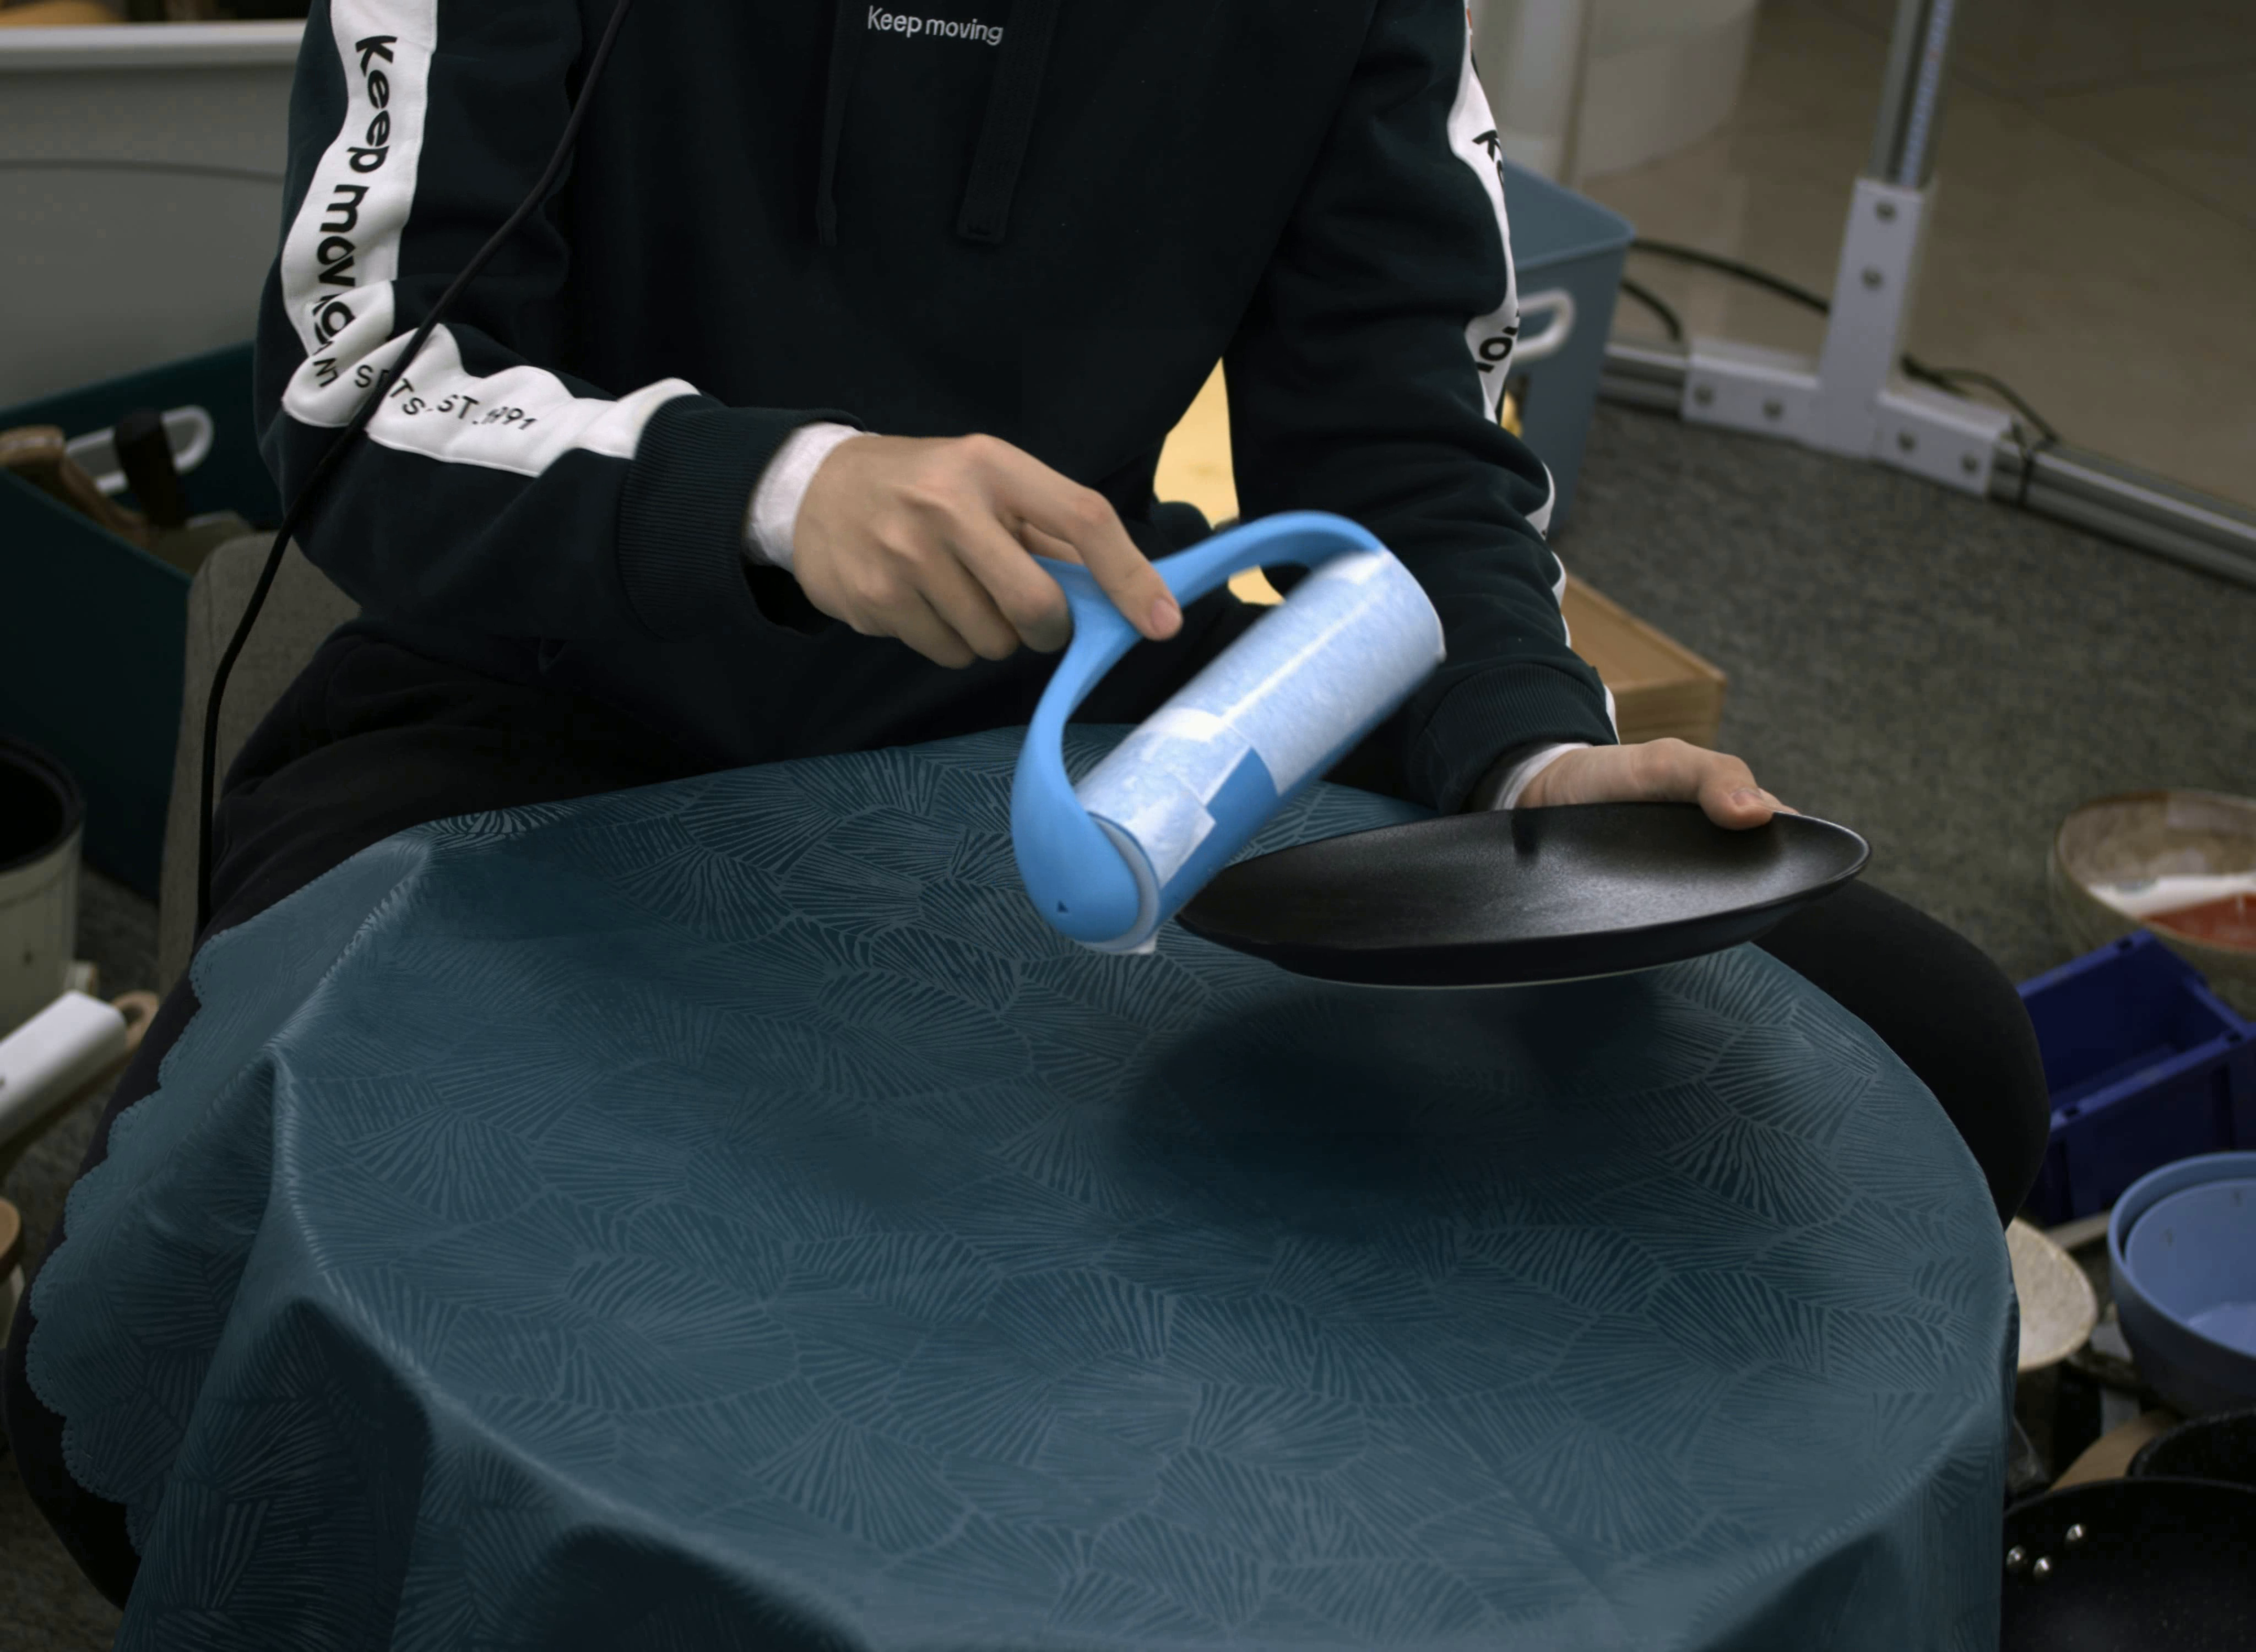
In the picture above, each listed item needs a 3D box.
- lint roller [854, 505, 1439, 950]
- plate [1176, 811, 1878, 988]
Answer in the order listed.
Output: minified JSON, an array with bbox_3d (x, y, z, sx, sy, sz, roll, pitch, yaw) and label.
[{"bbox_3d":[-0.013,-0.055,1.809,0.181,0.067,0.229,26,42,15],"label":"lint roller"},{"bbox_3d":[0.138,0.026,1.841,0.244,0.023,0.245,-5,9,0],"label":"plate"}]
